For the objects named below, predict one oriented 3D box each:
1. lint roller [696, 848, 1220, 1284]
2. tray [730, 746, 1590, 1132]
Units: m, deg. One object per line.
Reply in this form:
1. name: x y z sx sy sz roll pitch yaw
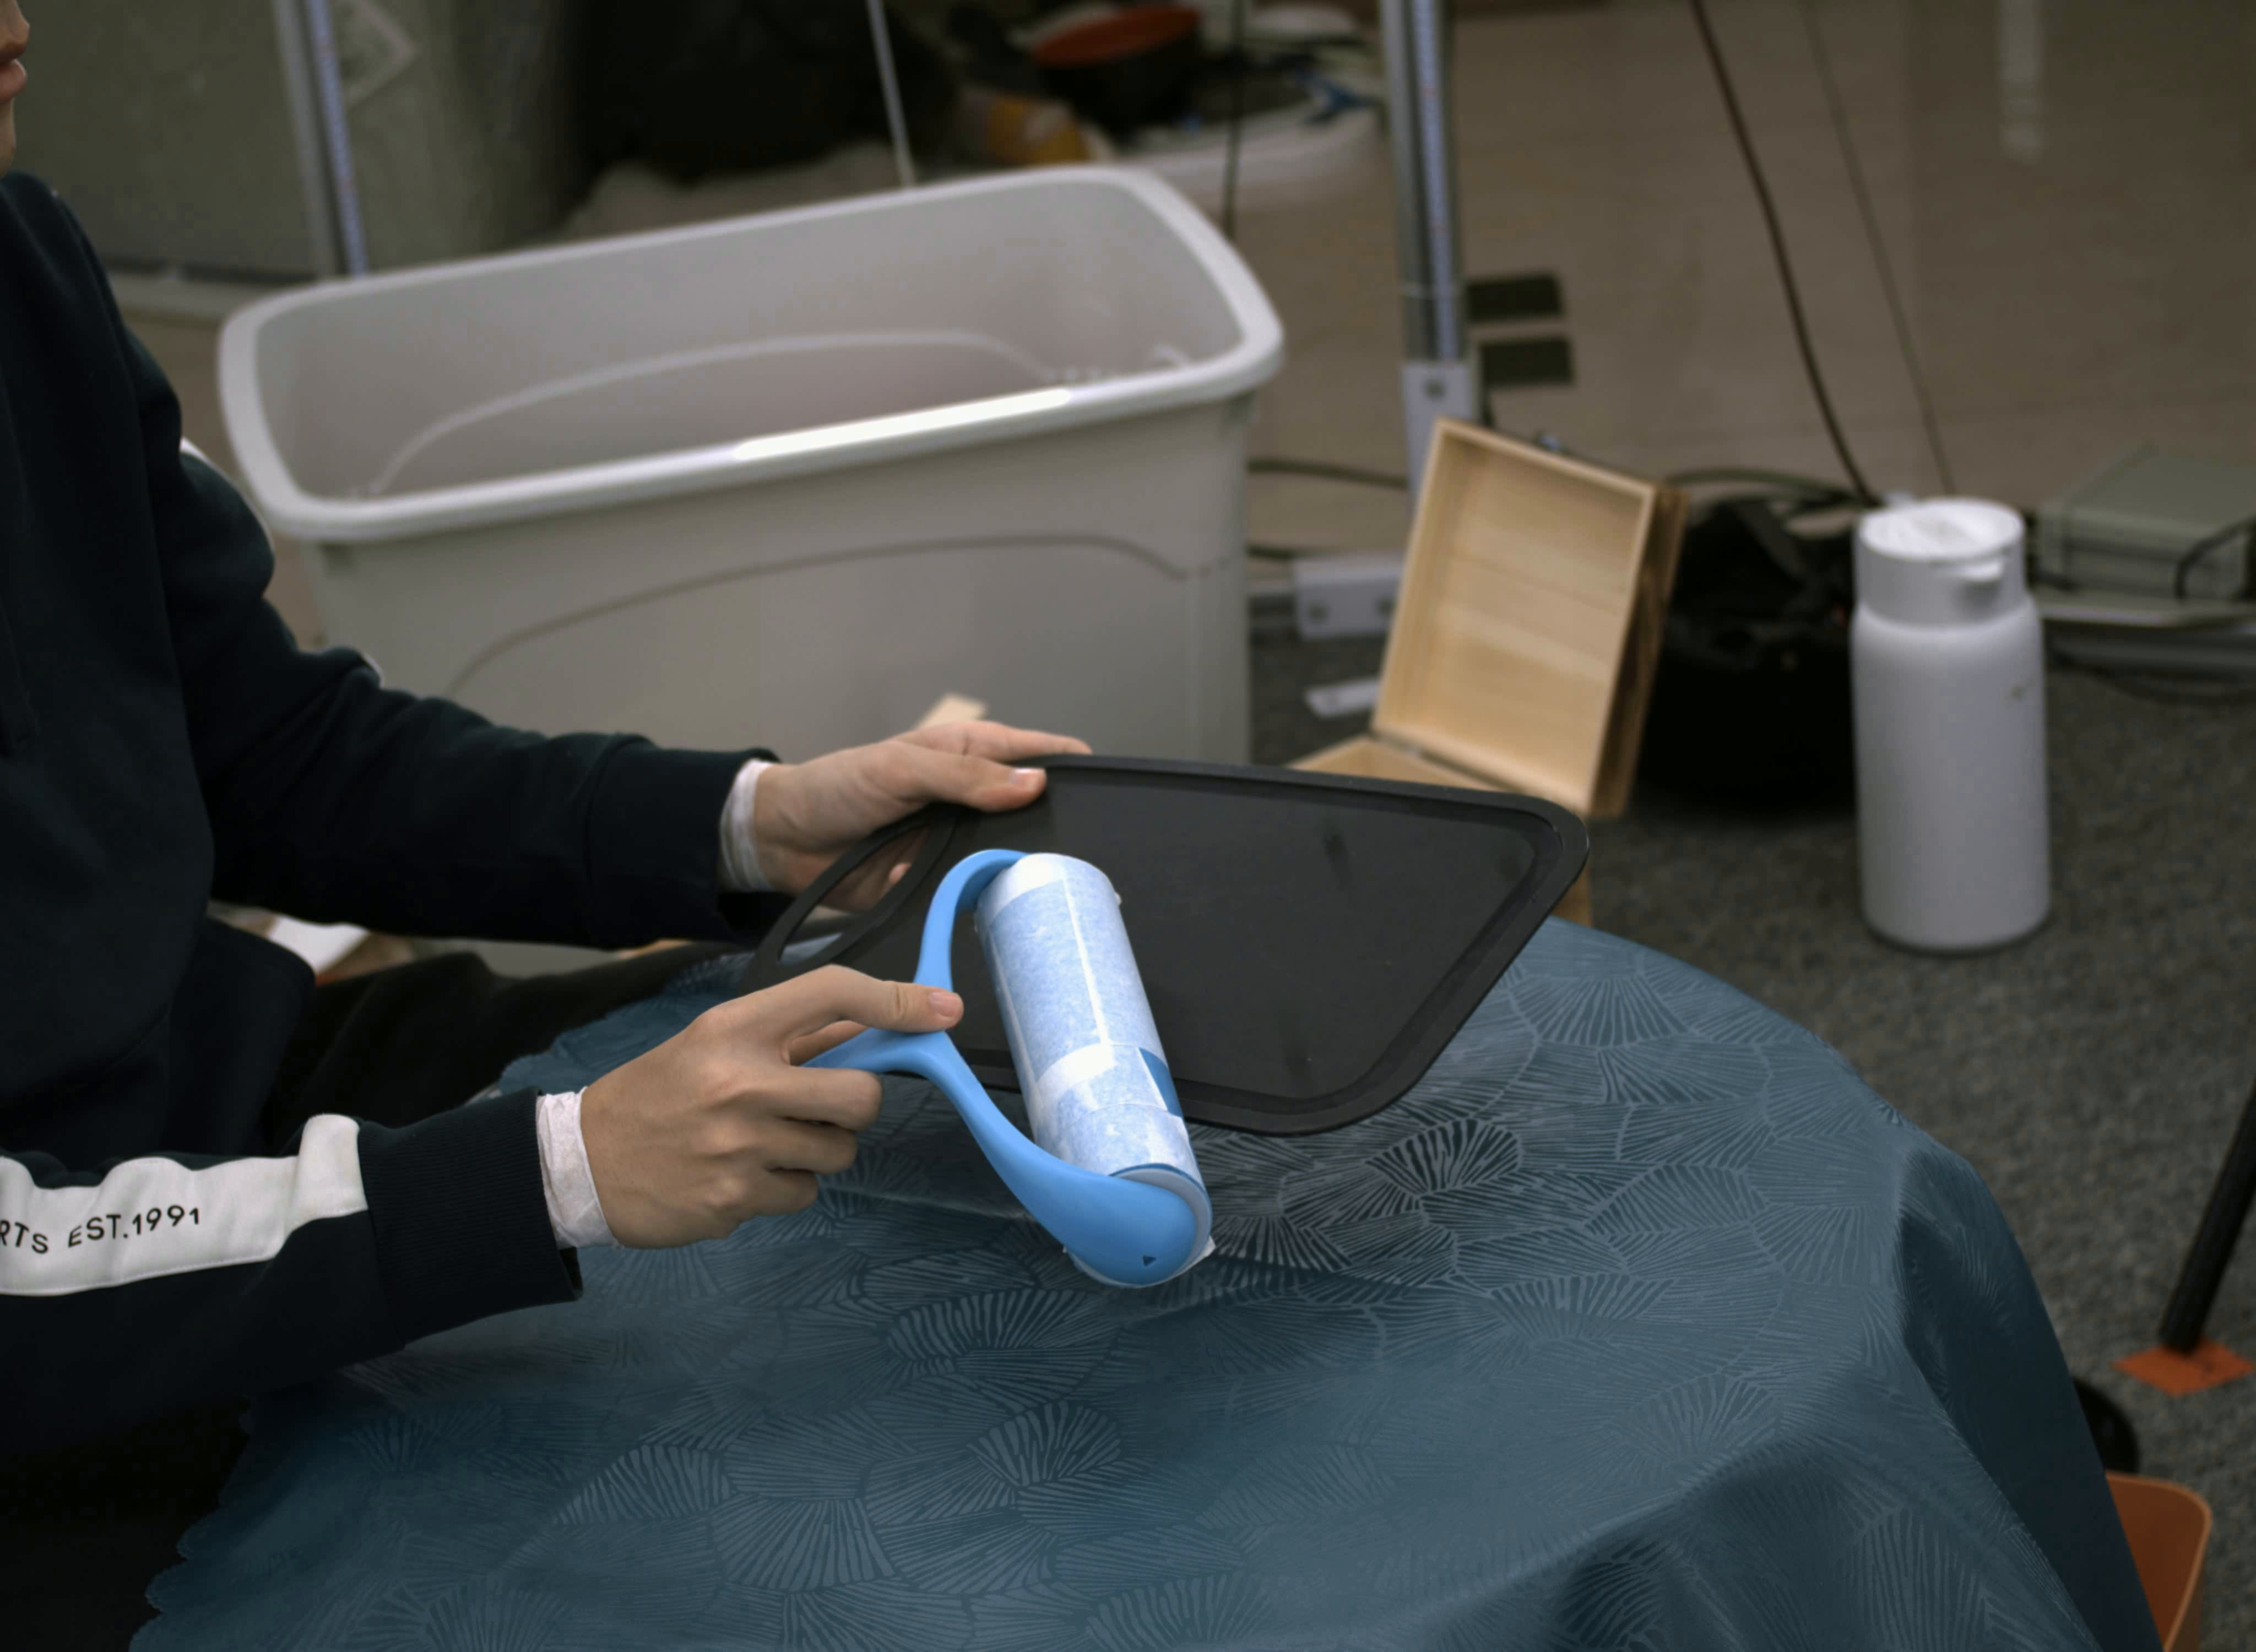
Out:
1. lint roller: -0.070 0.097 2.030 0.180 0.069 0.225 -13 38 -7
2. tray: 0.002 0.037 2.155 0.324 0.010 0.208 7 40 35
